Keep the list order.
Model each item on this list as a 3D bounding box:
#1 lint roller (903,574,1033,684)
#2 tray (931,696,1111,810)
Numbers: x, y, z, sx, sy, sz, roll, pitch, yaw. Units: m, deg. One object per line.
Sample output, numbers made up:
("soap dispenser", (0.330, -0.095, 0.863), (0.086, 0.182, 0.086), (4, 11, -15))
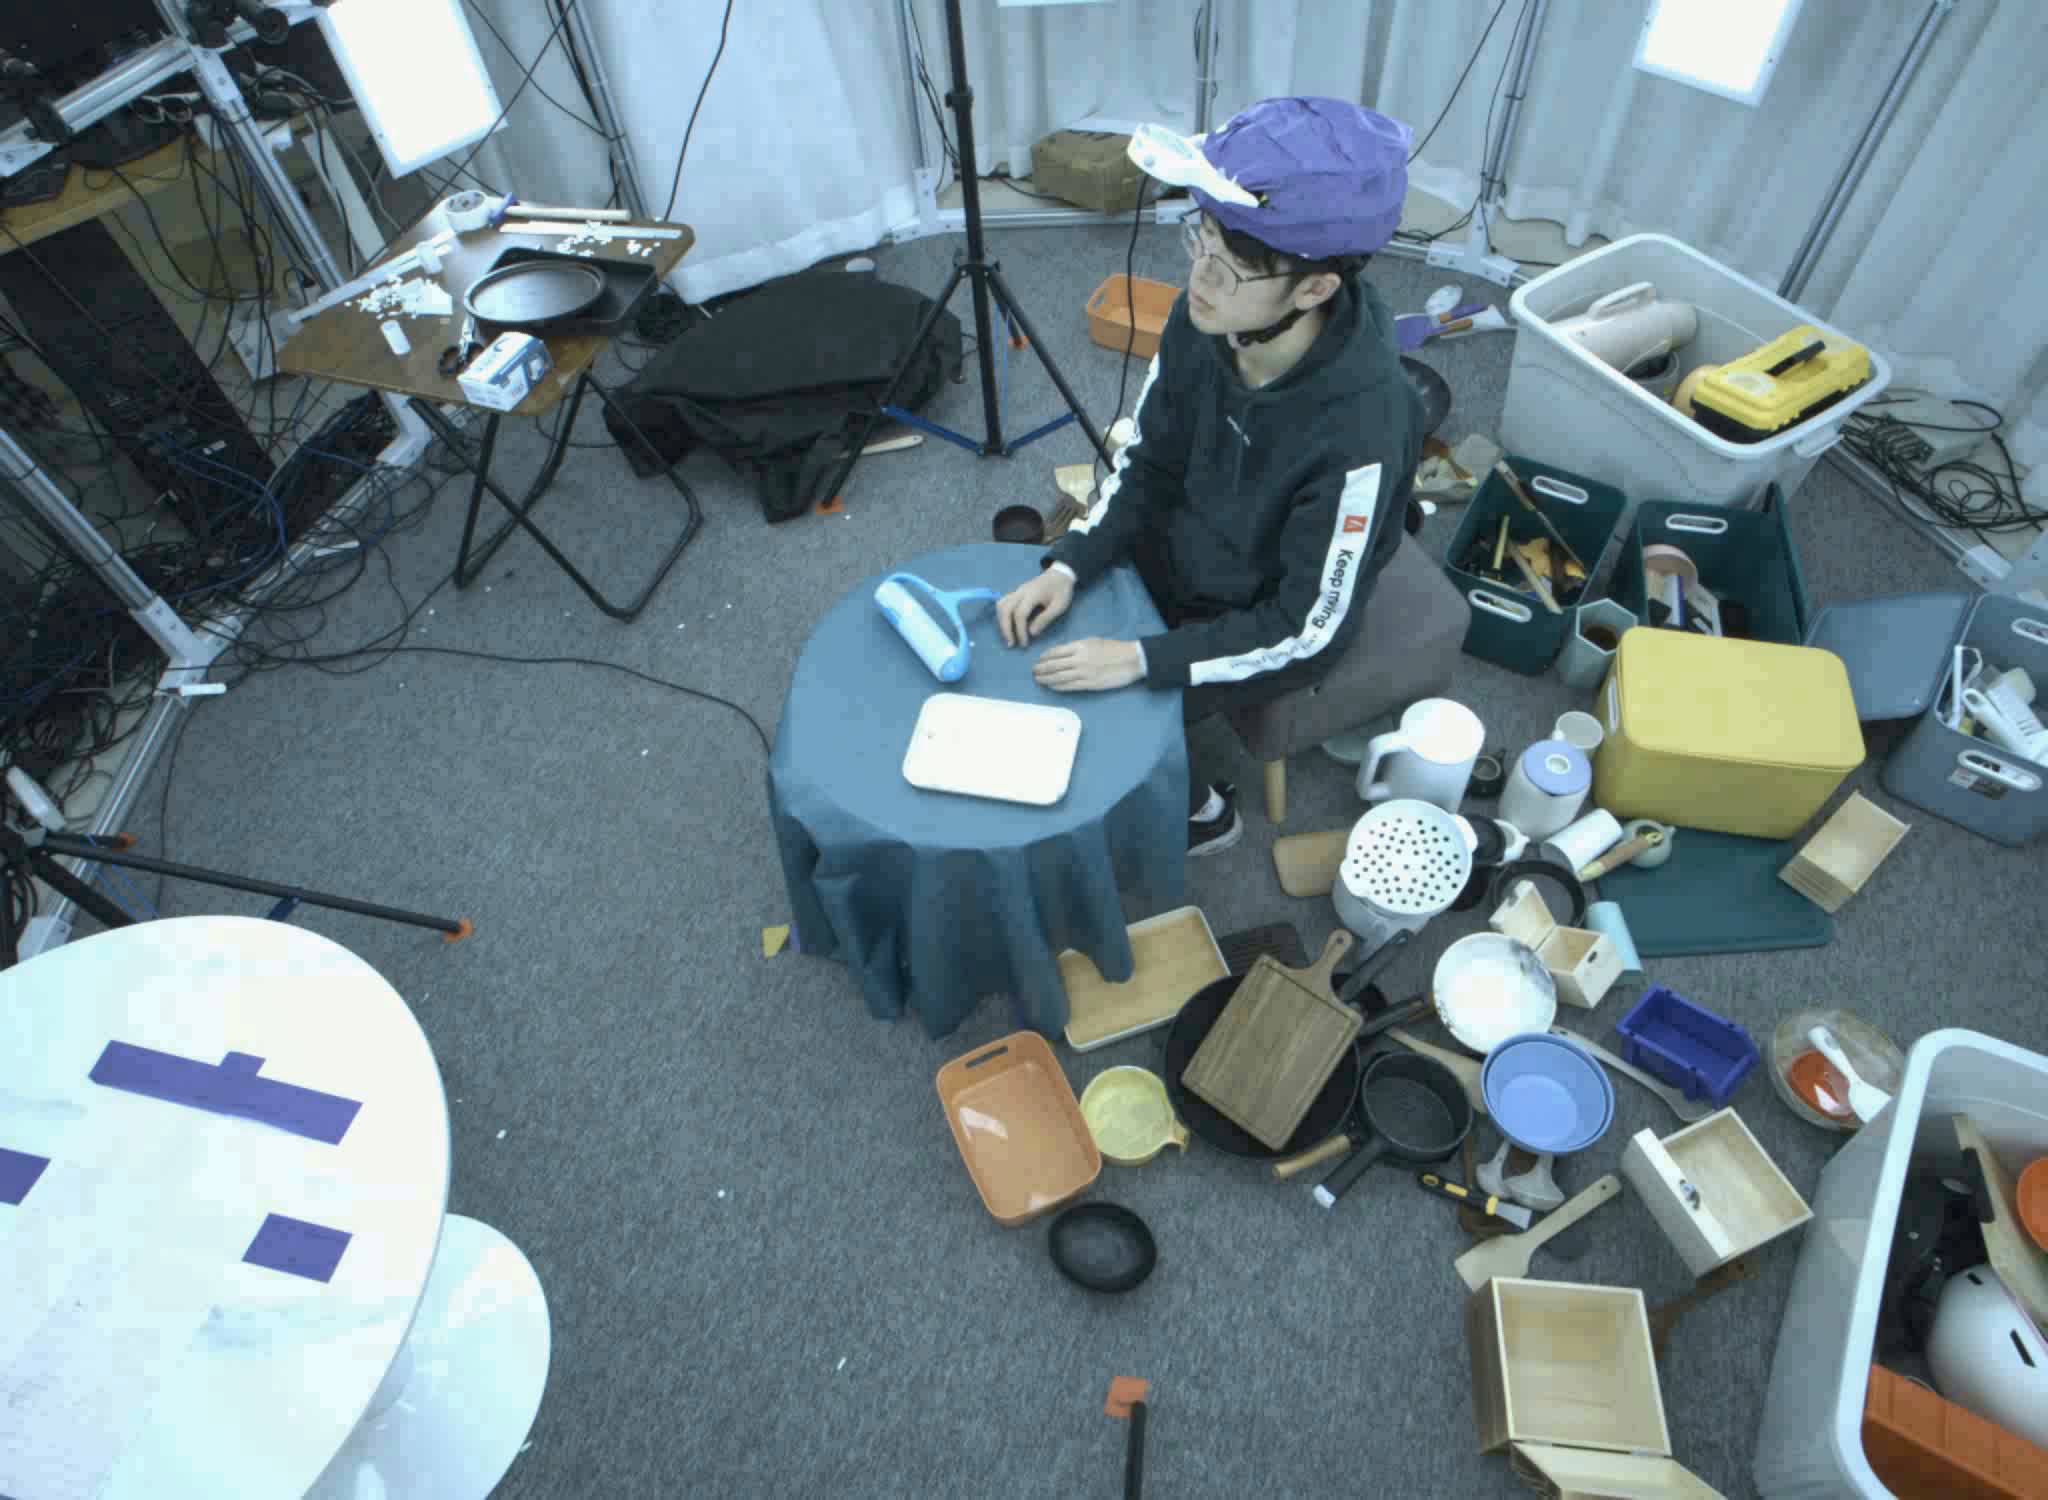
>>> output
("lint roller", (-0.068, -0.212, 1.901), (0.181, 0.069, 0.224), (-32, 58, -18))
("tray", (-0.003, 0.004, 1.769), (0.238, 0.017, 0.170), (10, 55, 9))
